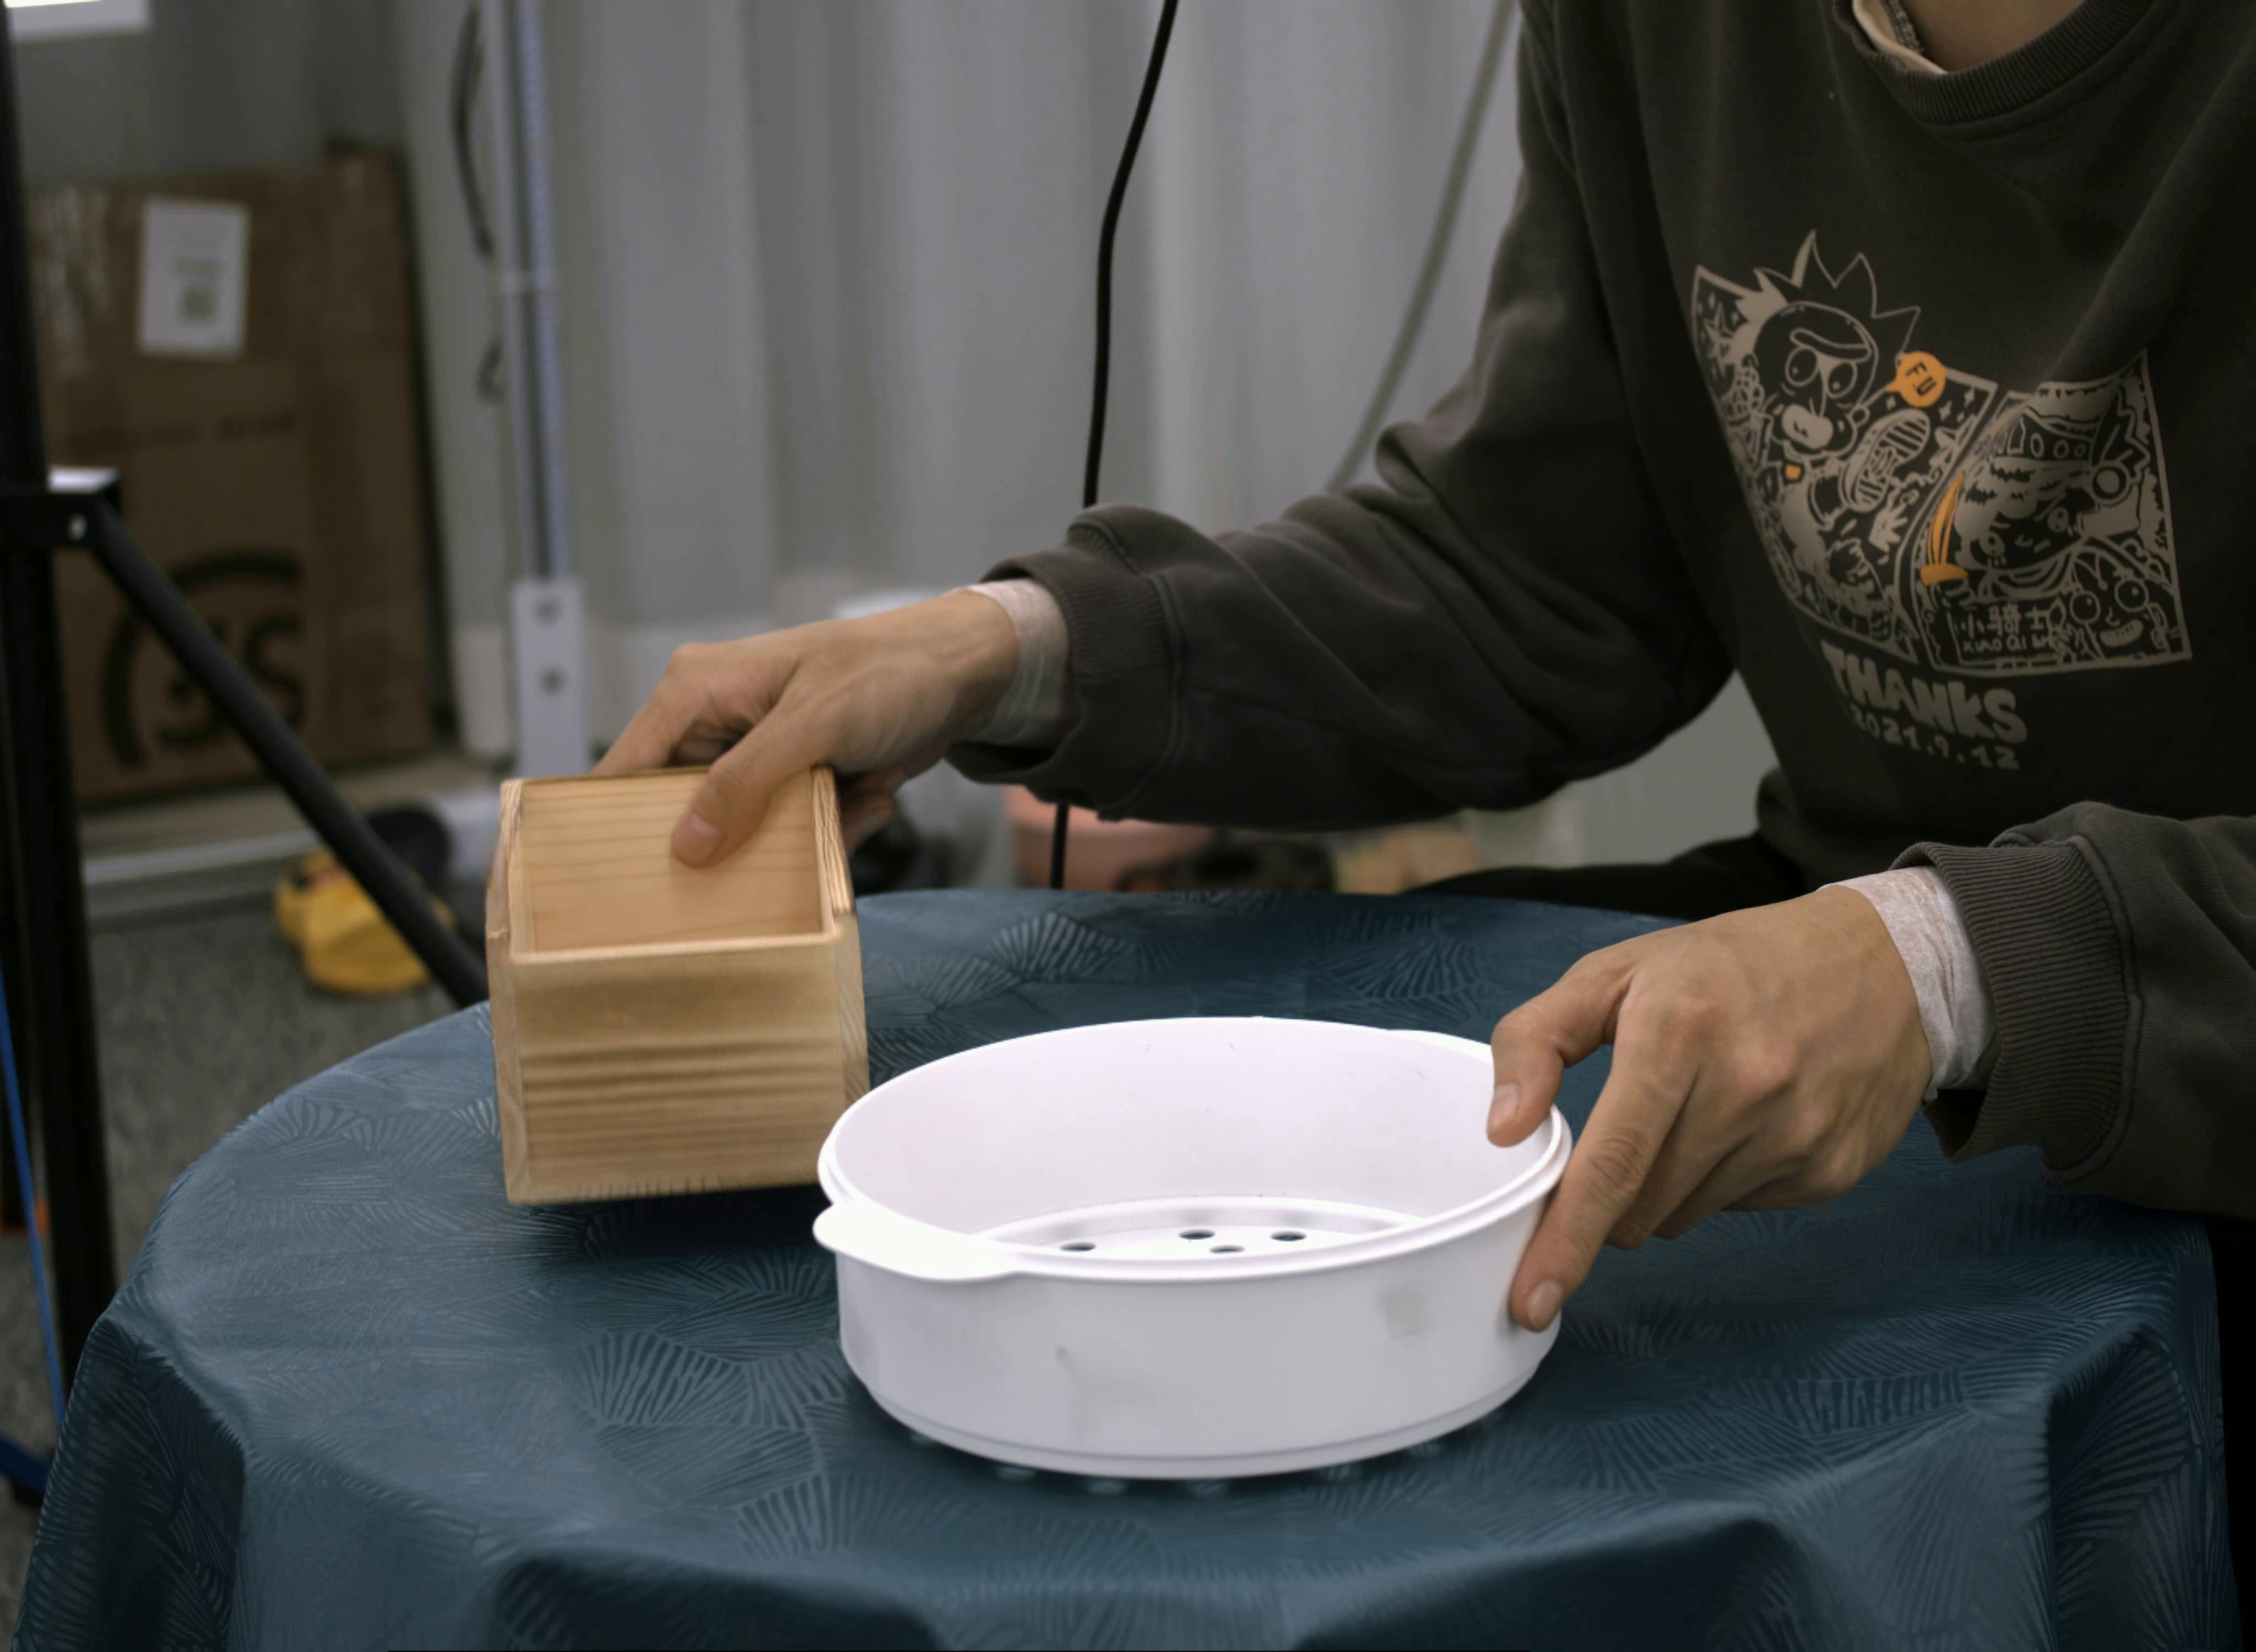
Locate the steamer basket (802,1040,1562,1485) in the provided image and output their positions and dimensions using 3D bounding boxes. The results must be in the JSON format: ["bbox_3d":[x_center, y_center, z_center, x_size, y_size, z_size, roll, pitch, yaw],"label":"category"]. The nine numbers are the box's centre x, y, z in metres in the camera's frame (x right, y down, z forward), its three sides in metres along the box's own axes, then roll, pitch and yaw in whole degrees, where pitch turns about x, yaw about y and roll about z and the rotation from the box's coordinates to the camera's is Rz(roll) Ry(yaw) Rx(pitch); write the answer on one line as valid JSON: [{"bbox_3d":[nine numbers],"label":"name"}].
[{"bbox_3d":[0.015,0.116,1.417,0.225,0.069,0.206,-12,17,-39],"label":"steamer basket"}]

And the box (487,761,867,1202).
[{"bbox_3d":[-0.137,0.043,1.615,0.106,0.080,0.213,-4,13,-4],"label":"box"}]
